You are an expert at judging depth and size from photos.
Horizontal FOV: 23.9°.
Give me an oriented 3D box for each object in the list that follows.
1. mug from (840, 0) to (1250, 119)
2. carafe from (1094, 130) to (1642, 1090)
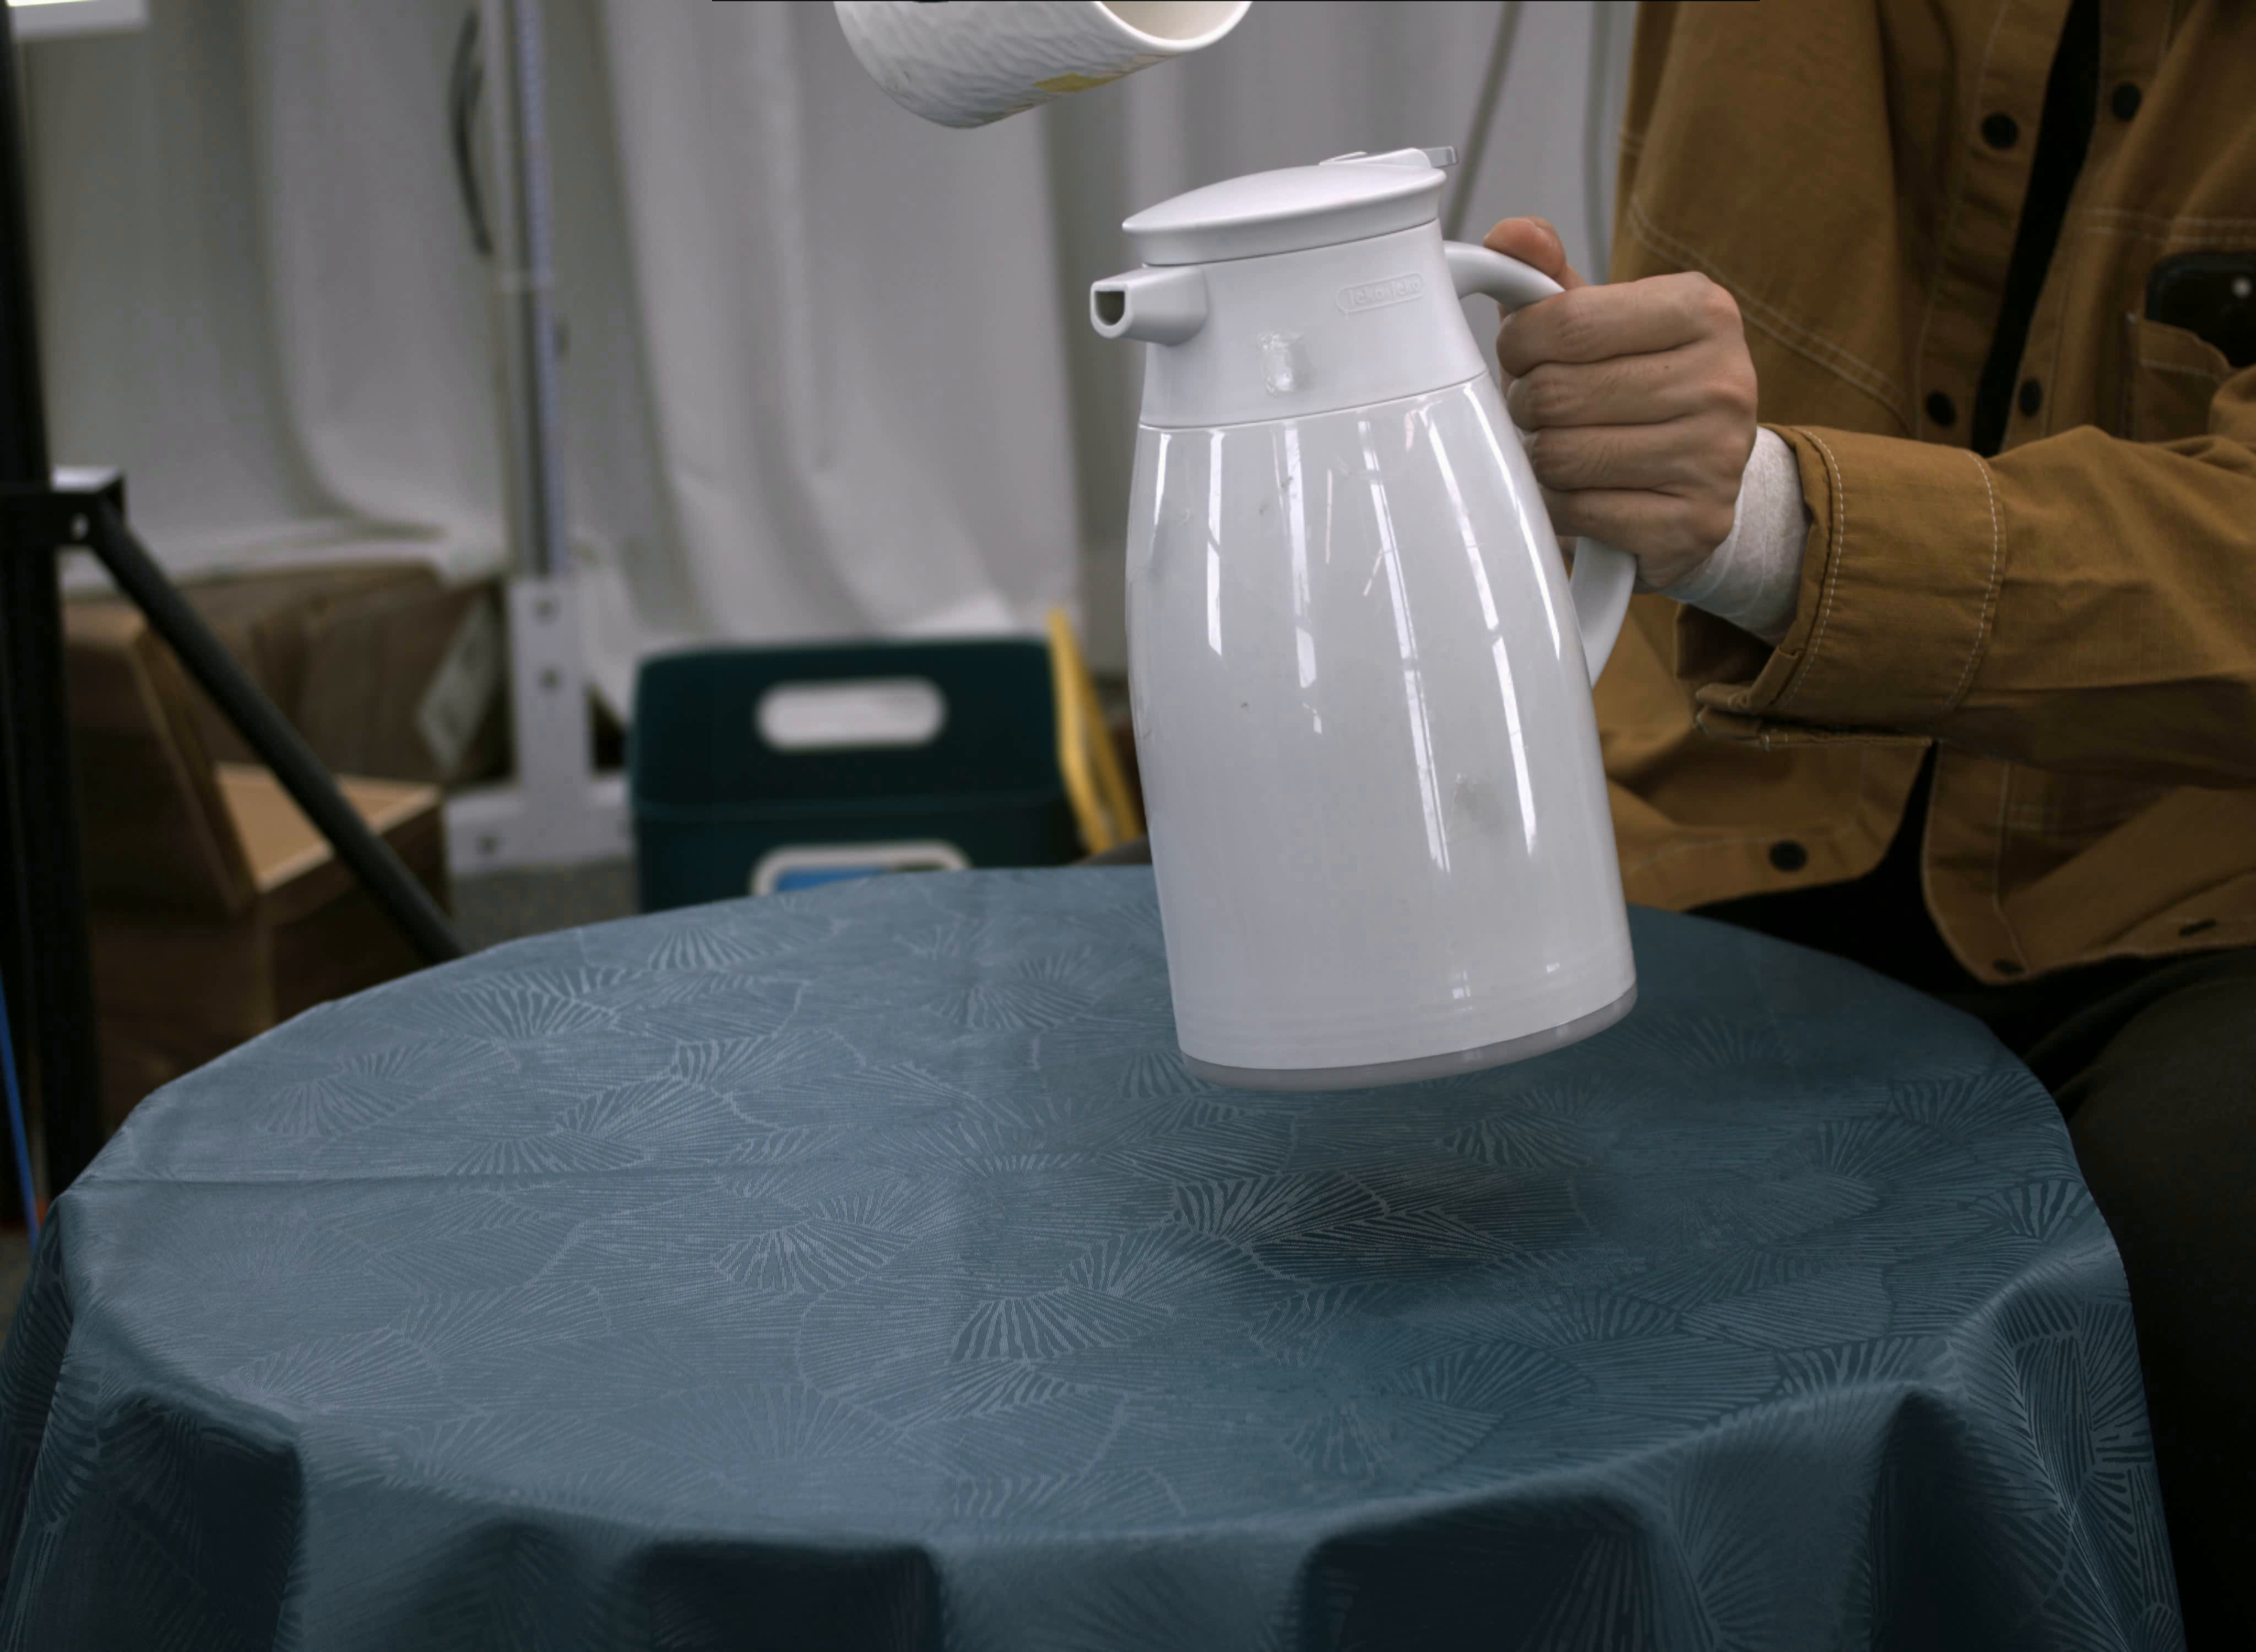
[{"bbox_3d":[-0.025,-0.269,1.527,0.082,0.119,0.104,2,-10,-40],"label":"mug"},{"bbox_3d":[0.077,-0.067,1.500,0.164,0.249,0.135,-14,10,-31],"label":"carafe"}]
